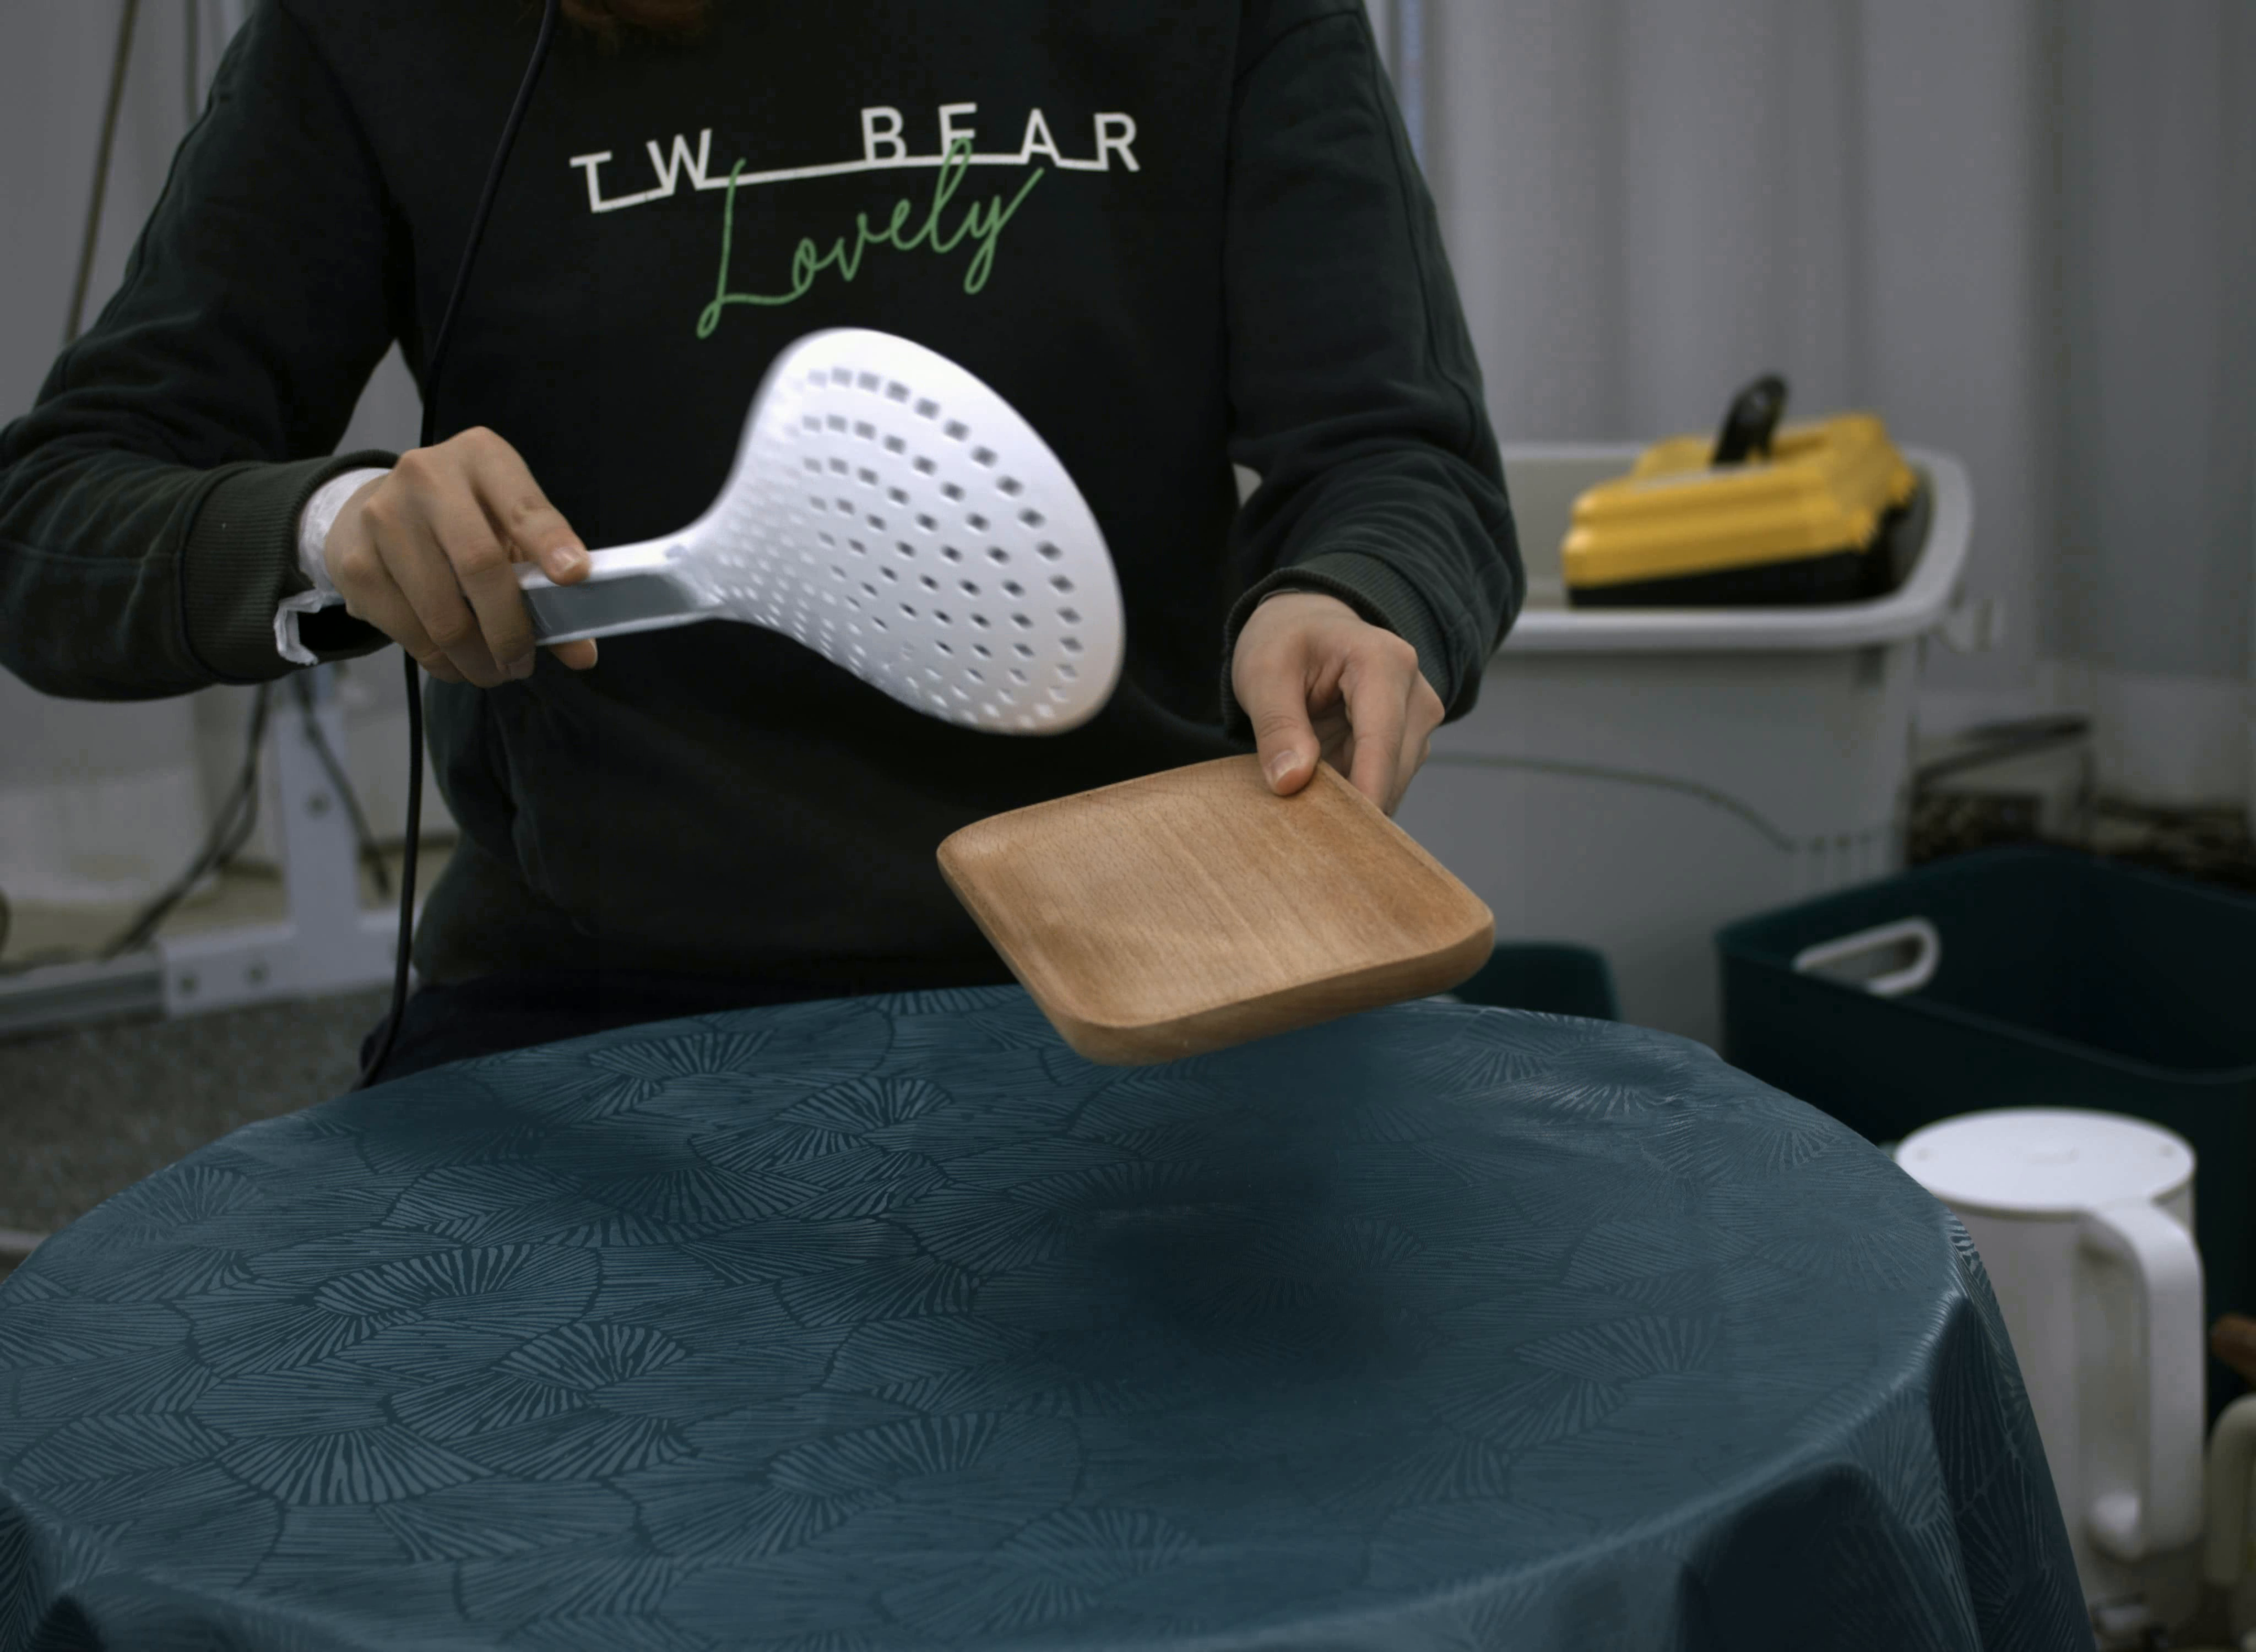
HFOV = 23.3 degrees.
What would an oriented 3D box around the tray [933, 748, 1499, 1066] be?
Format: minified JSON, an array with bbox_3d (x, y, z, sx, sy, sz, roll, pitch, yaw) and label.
[{"bbox_3d":[0.022,0.021,1.619,0.130,0.023,0.252,-12,14,-9],"label":"tray"}]

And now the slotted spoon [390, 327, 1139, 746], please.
[{"bbox_3d":[-0.123,-0.075,1.677,0.046,0.135,0.350,-33,18,-32],"label":"slotted spoon"}]
